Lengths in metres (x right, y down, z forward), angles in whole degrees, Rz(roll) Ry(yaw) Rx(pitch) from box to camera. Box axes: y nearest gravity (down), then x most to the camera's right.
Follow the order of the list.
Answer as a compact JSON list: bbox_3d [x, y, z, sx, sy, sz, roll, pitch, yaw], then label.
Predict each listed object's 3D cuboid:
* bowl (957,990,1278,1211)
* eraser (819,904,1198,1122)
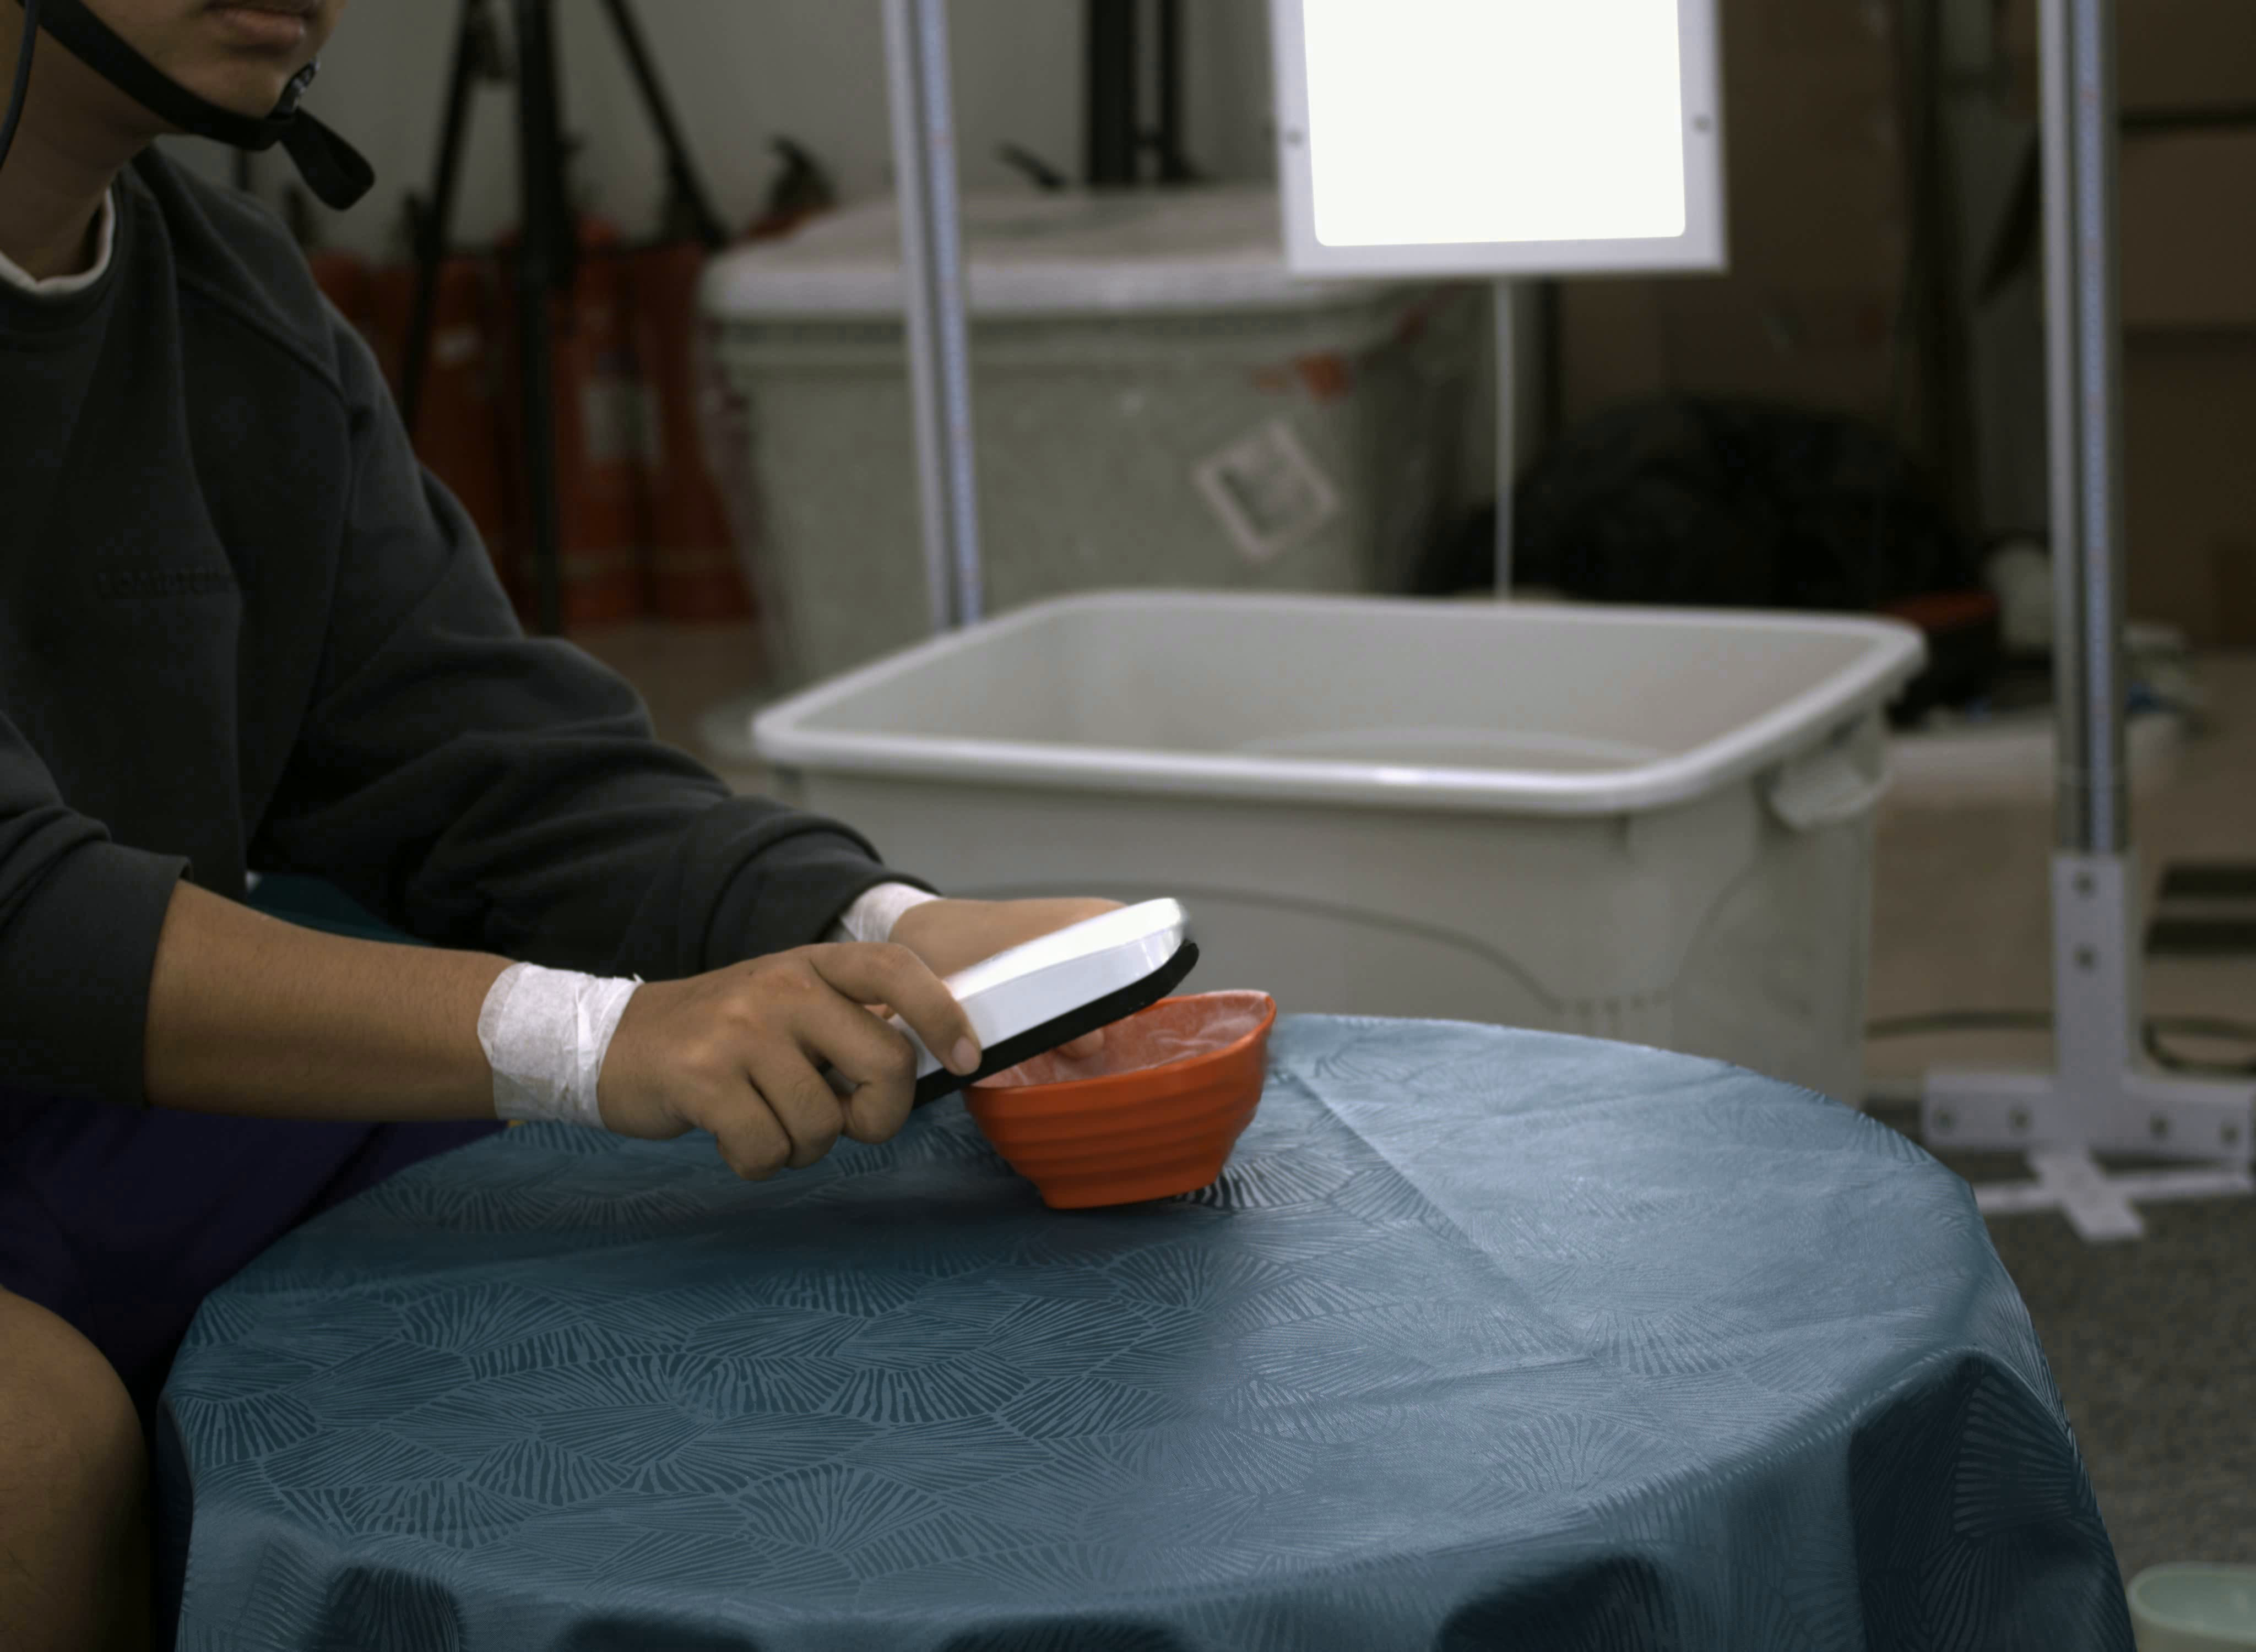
[{"bbox_3d":[0.001,0.097,1.893,0.119,0.051,0.119,-13,10,1],"label":"bowl"},{"bbox_3d":[-0.040,0.060,1.872,0.133,0.034,0.062,-22,6,22],"label":"eraser"}]
